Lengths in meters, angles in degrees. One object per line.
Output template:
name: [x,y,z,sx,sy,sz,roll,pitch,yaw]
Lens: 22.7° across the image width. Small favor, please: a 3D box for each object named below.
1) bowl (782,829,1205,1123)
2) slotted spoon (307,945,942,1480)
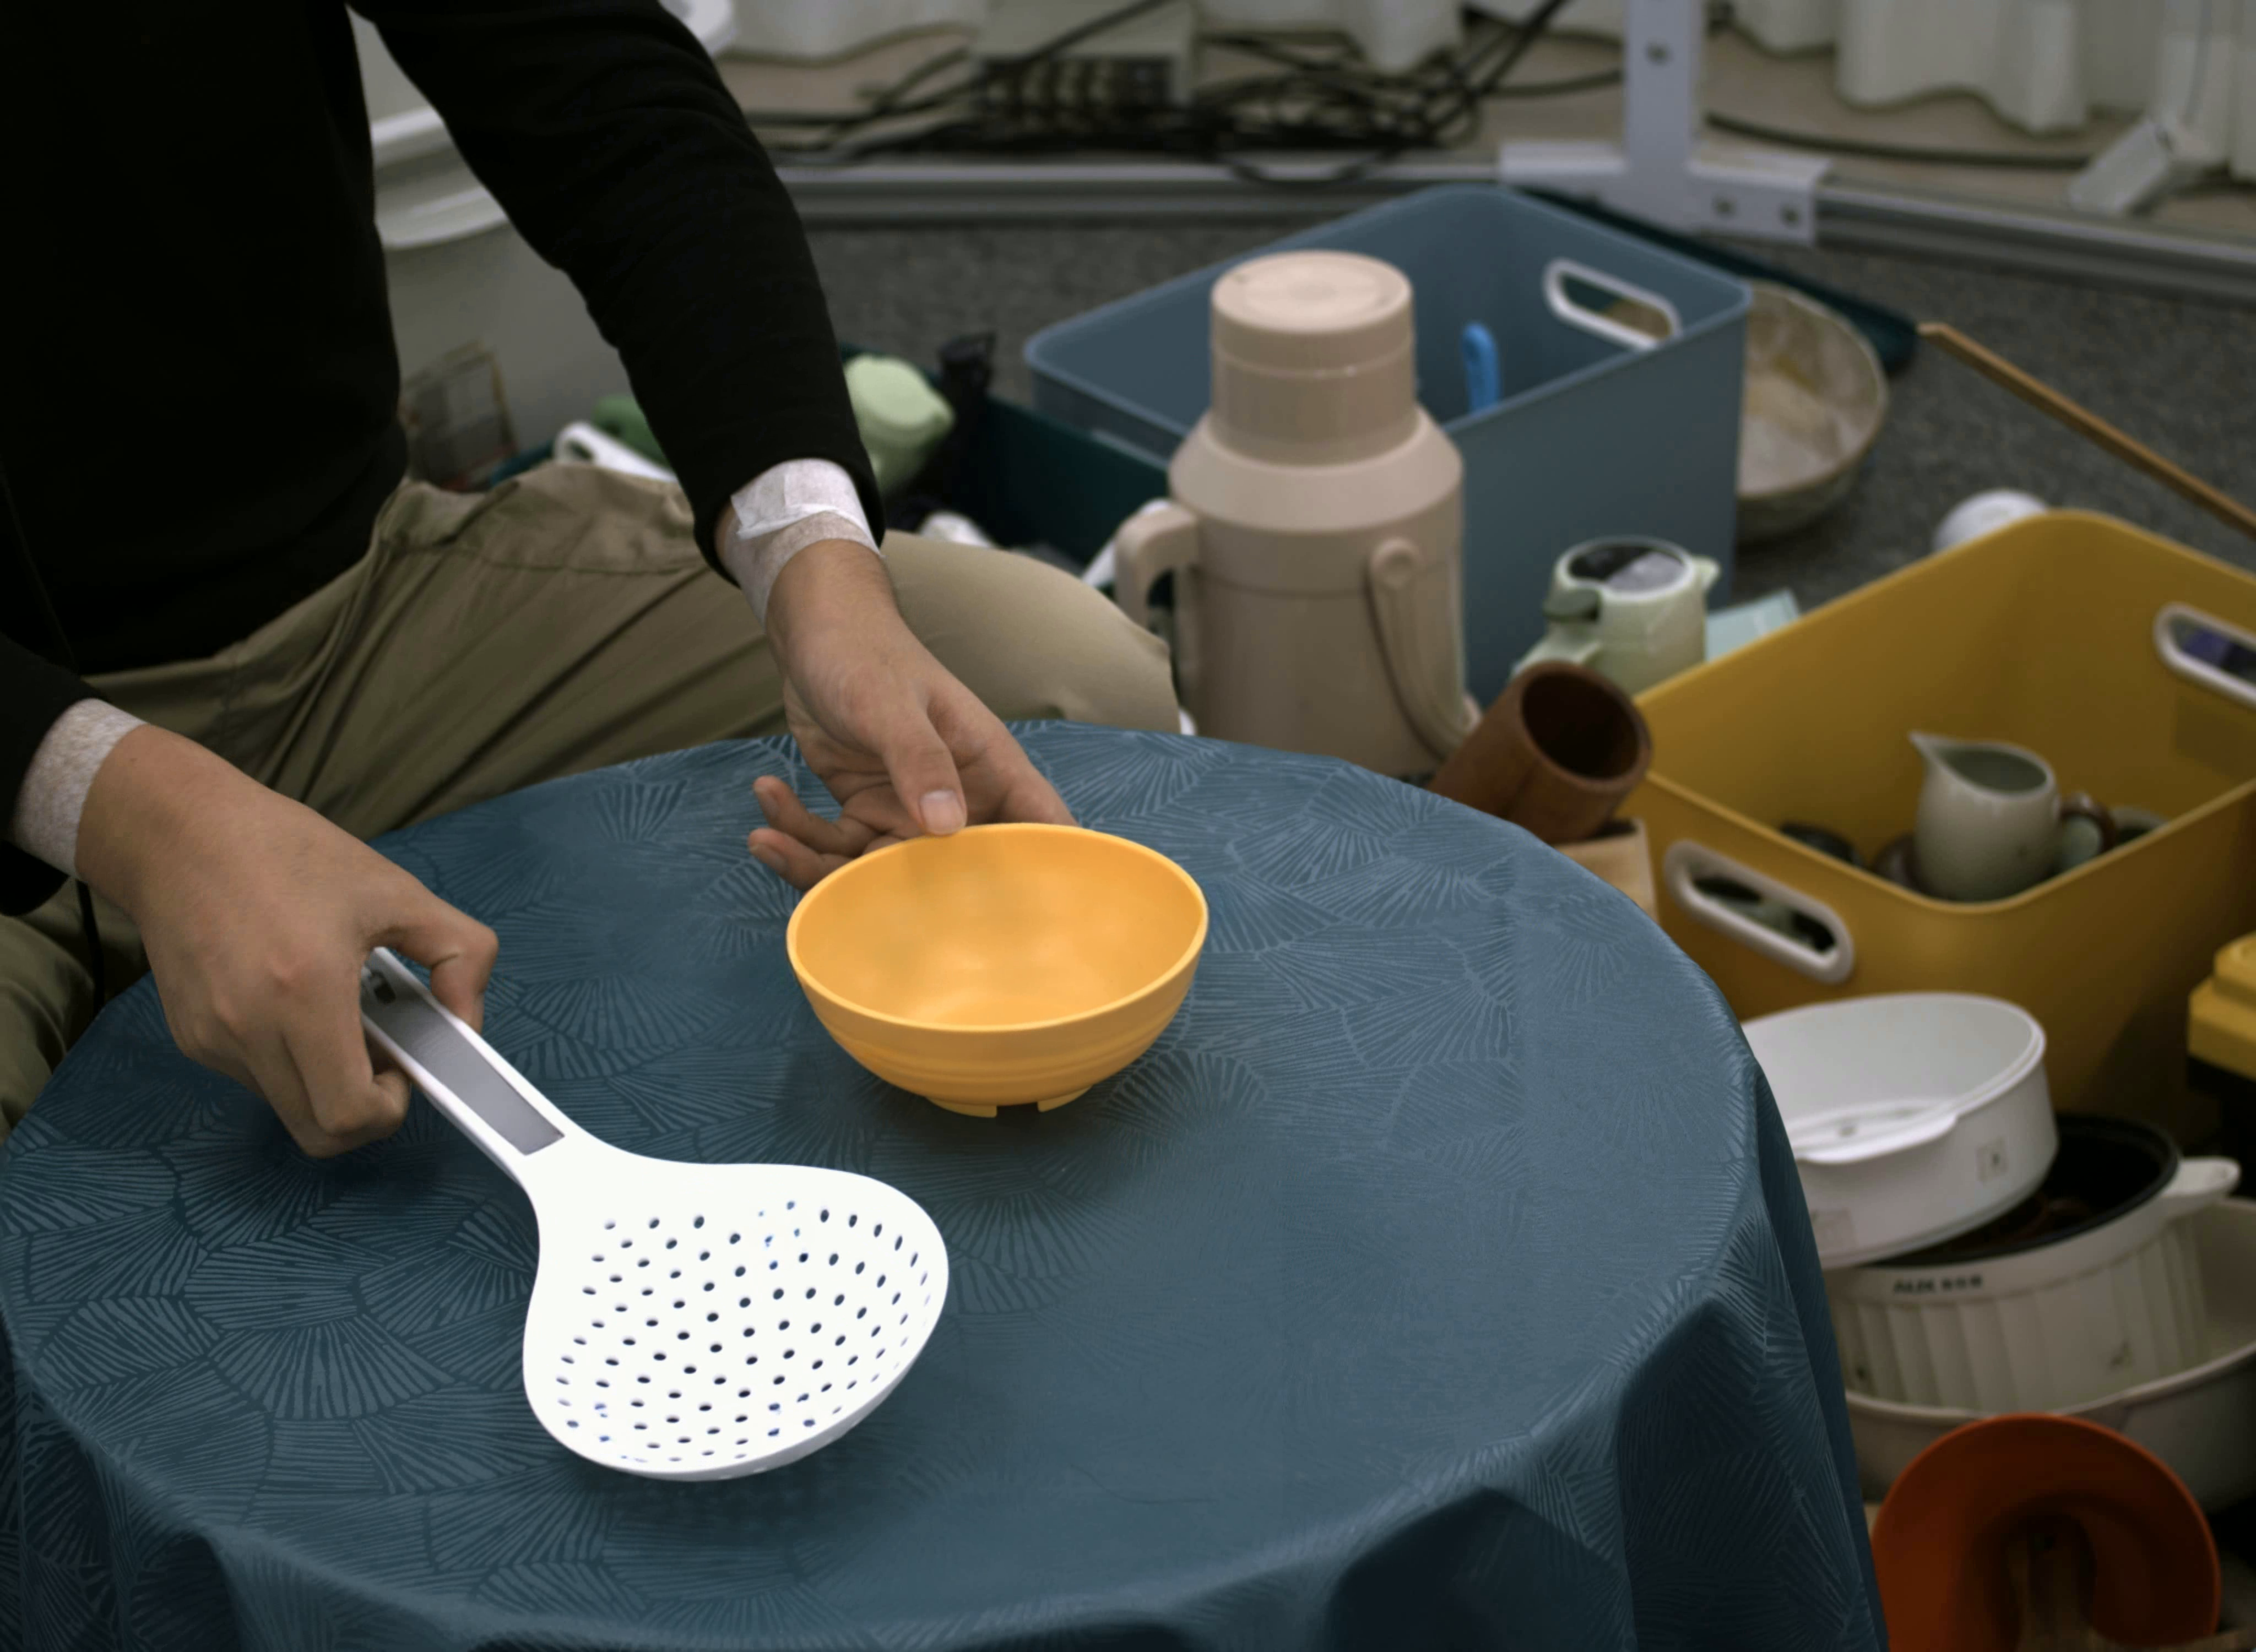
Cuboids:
bowl: [-0.045,0.060,1.925,0.144,0.059,0.147,-1,27,1]
slotted spoon: [-0.180,0.116,1.814,0.137,0.045,0.351,-32,41,-20]
